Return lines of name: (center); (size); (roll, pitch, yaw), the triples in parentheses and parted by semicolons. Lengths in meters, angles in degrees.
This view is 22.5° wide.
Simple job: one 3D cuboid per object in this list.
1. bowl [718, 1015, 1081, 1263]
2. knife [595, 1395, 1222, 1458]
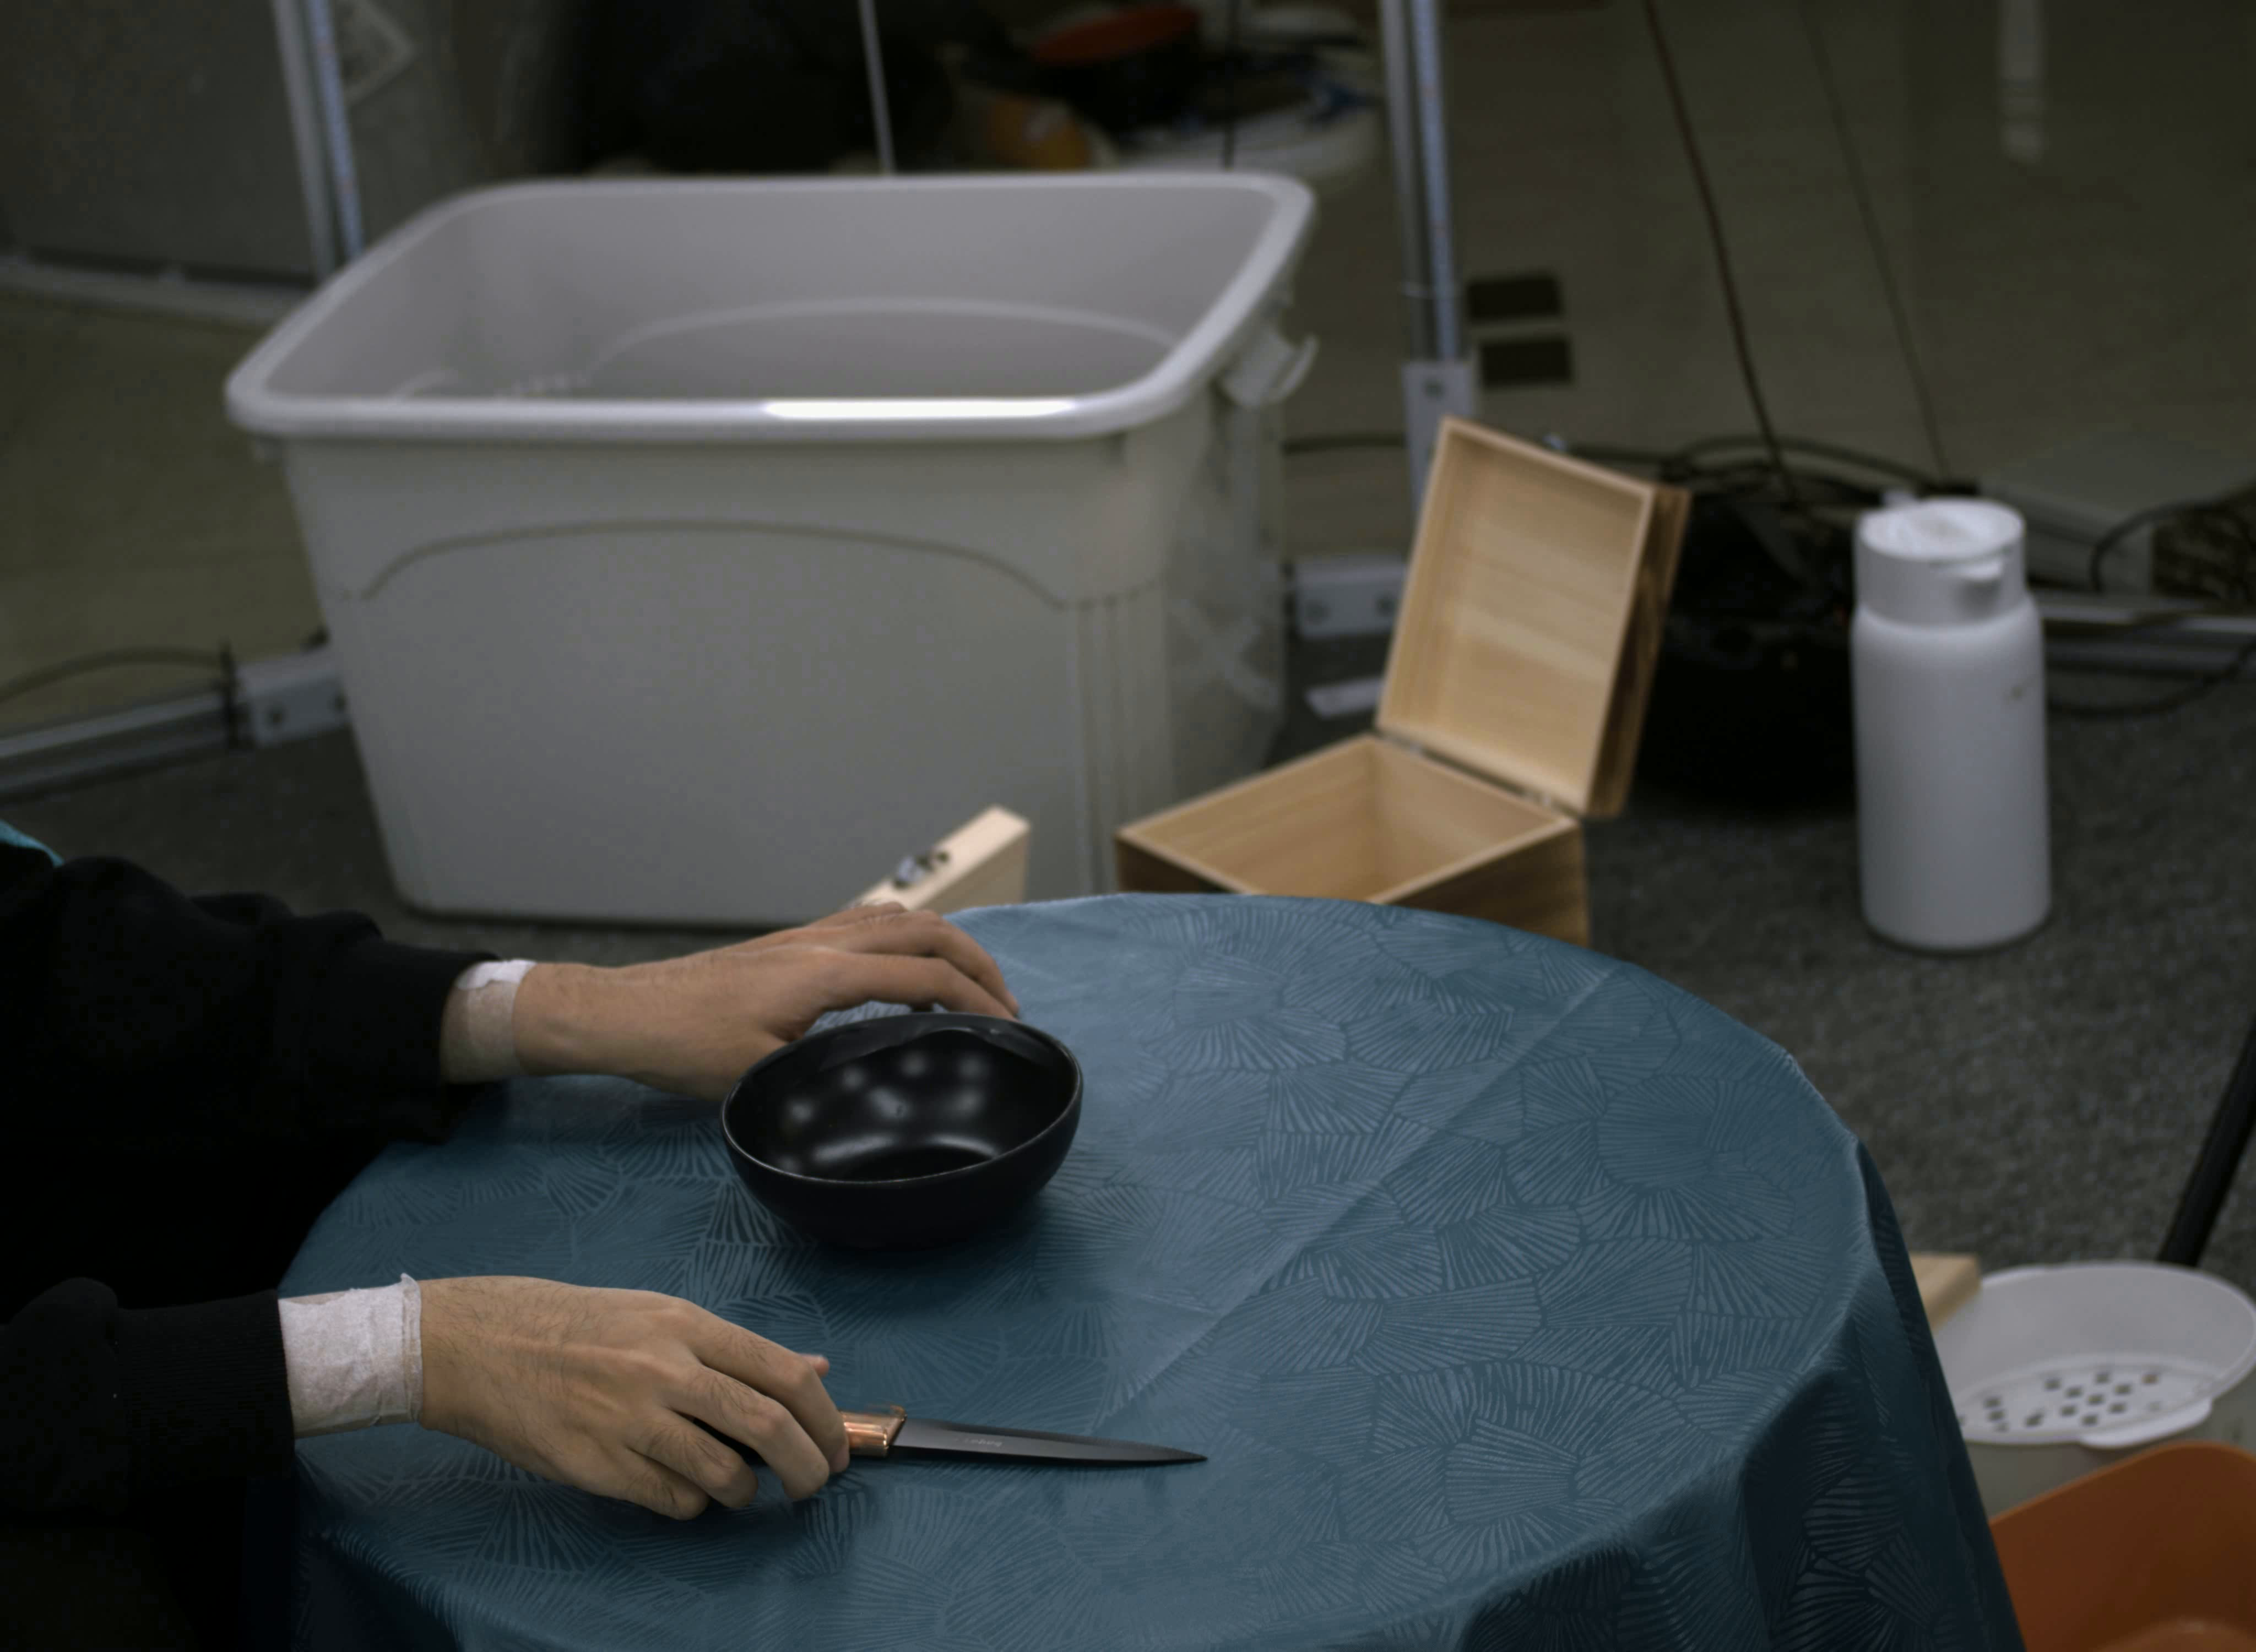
bowl: (-0.083, 0.126, 2.143); (0.140, 0.050, 0.138); (-9, 26, 5)
knife: (-0.078, 0.212, 1.996); (0.225, 0.017, 0.026); (1, 24, 13)
